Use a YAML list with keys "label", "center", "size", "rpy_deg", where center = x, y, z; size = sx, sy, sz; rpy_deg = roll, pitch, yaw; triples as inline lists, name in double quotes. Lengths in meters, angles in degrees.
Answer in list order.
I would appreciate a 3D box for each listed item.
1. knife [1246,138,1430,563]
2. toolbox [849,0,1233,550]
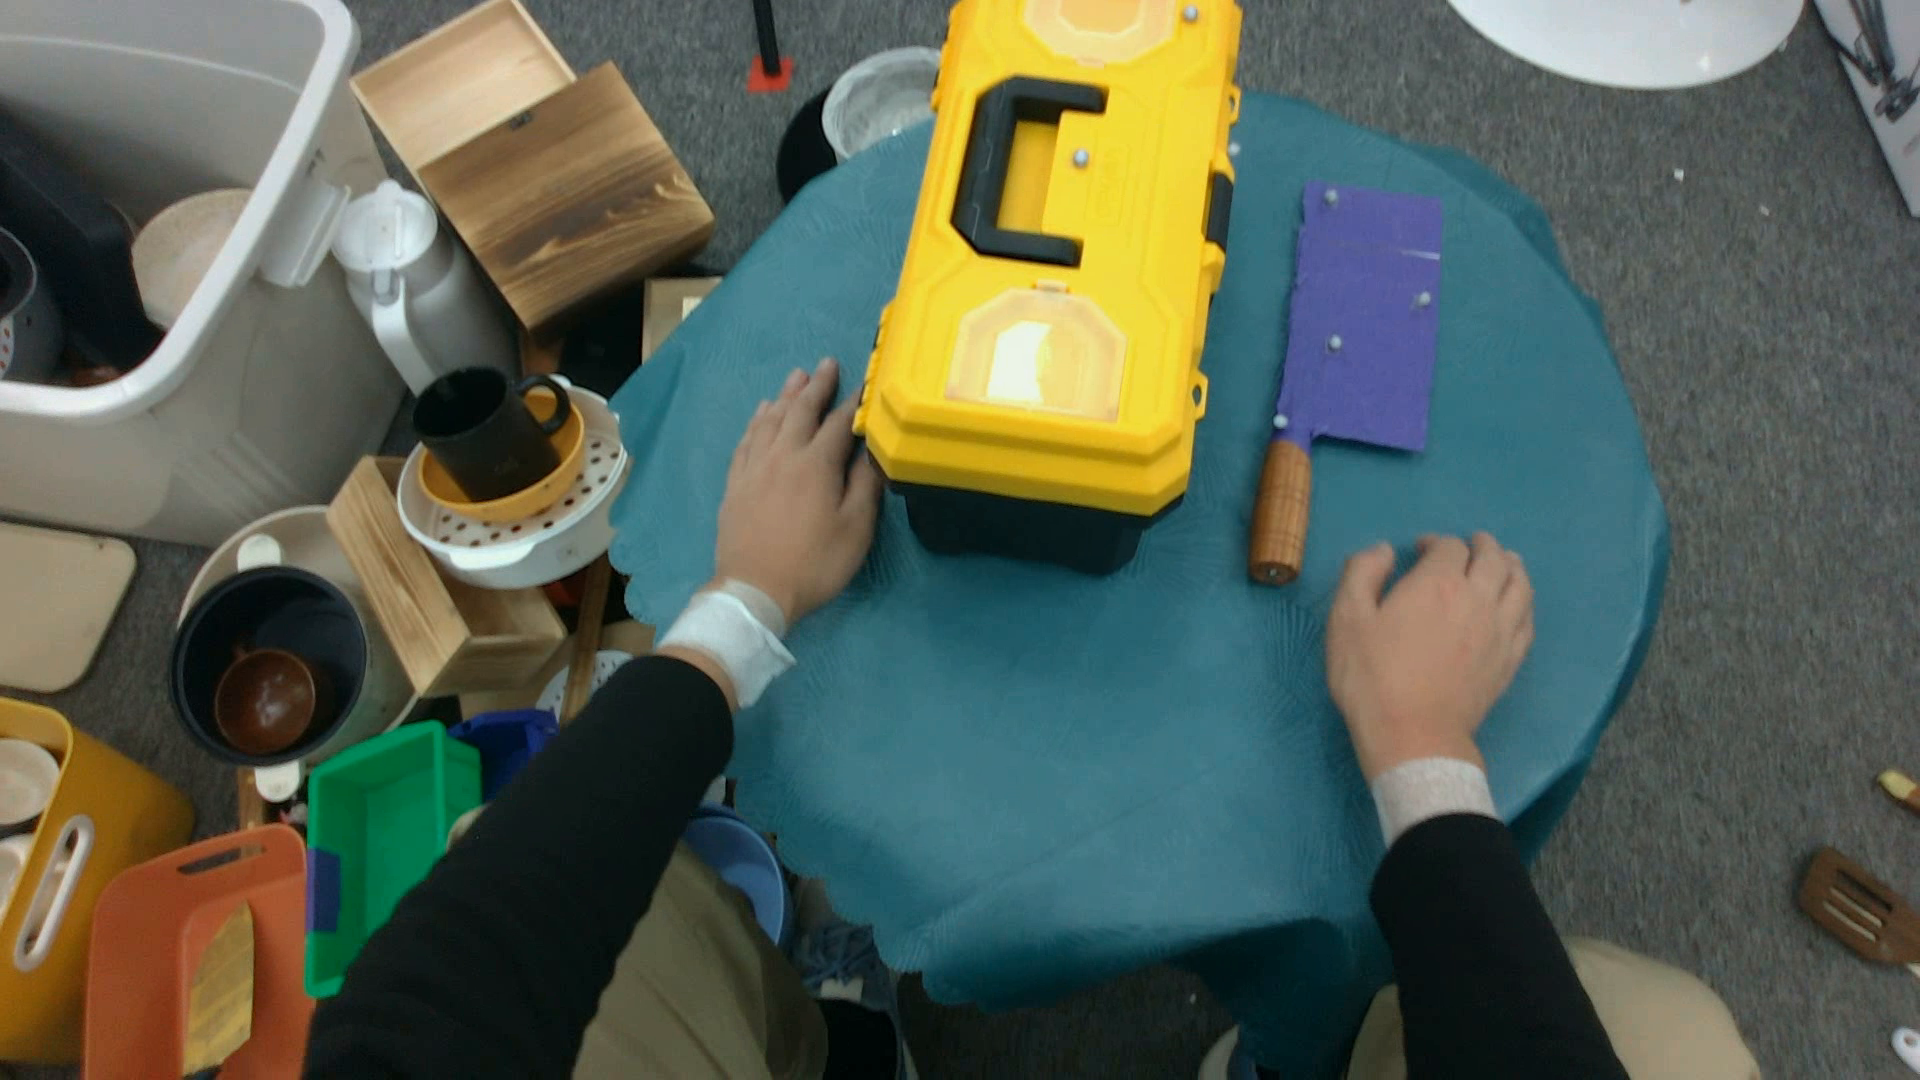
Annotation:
- label: "knife"
  center: [0.235, -0.126, 0.850]
  size: [0.104, 0.032, 0.316]
  rpy_deg: [10, 65, 4]
- label: "toolbox"
  center: [0.052, -0.176, 0.792]
  size: [0.181, 0.172, 0.353]
  rpy_deg: [8, 66, 4]
